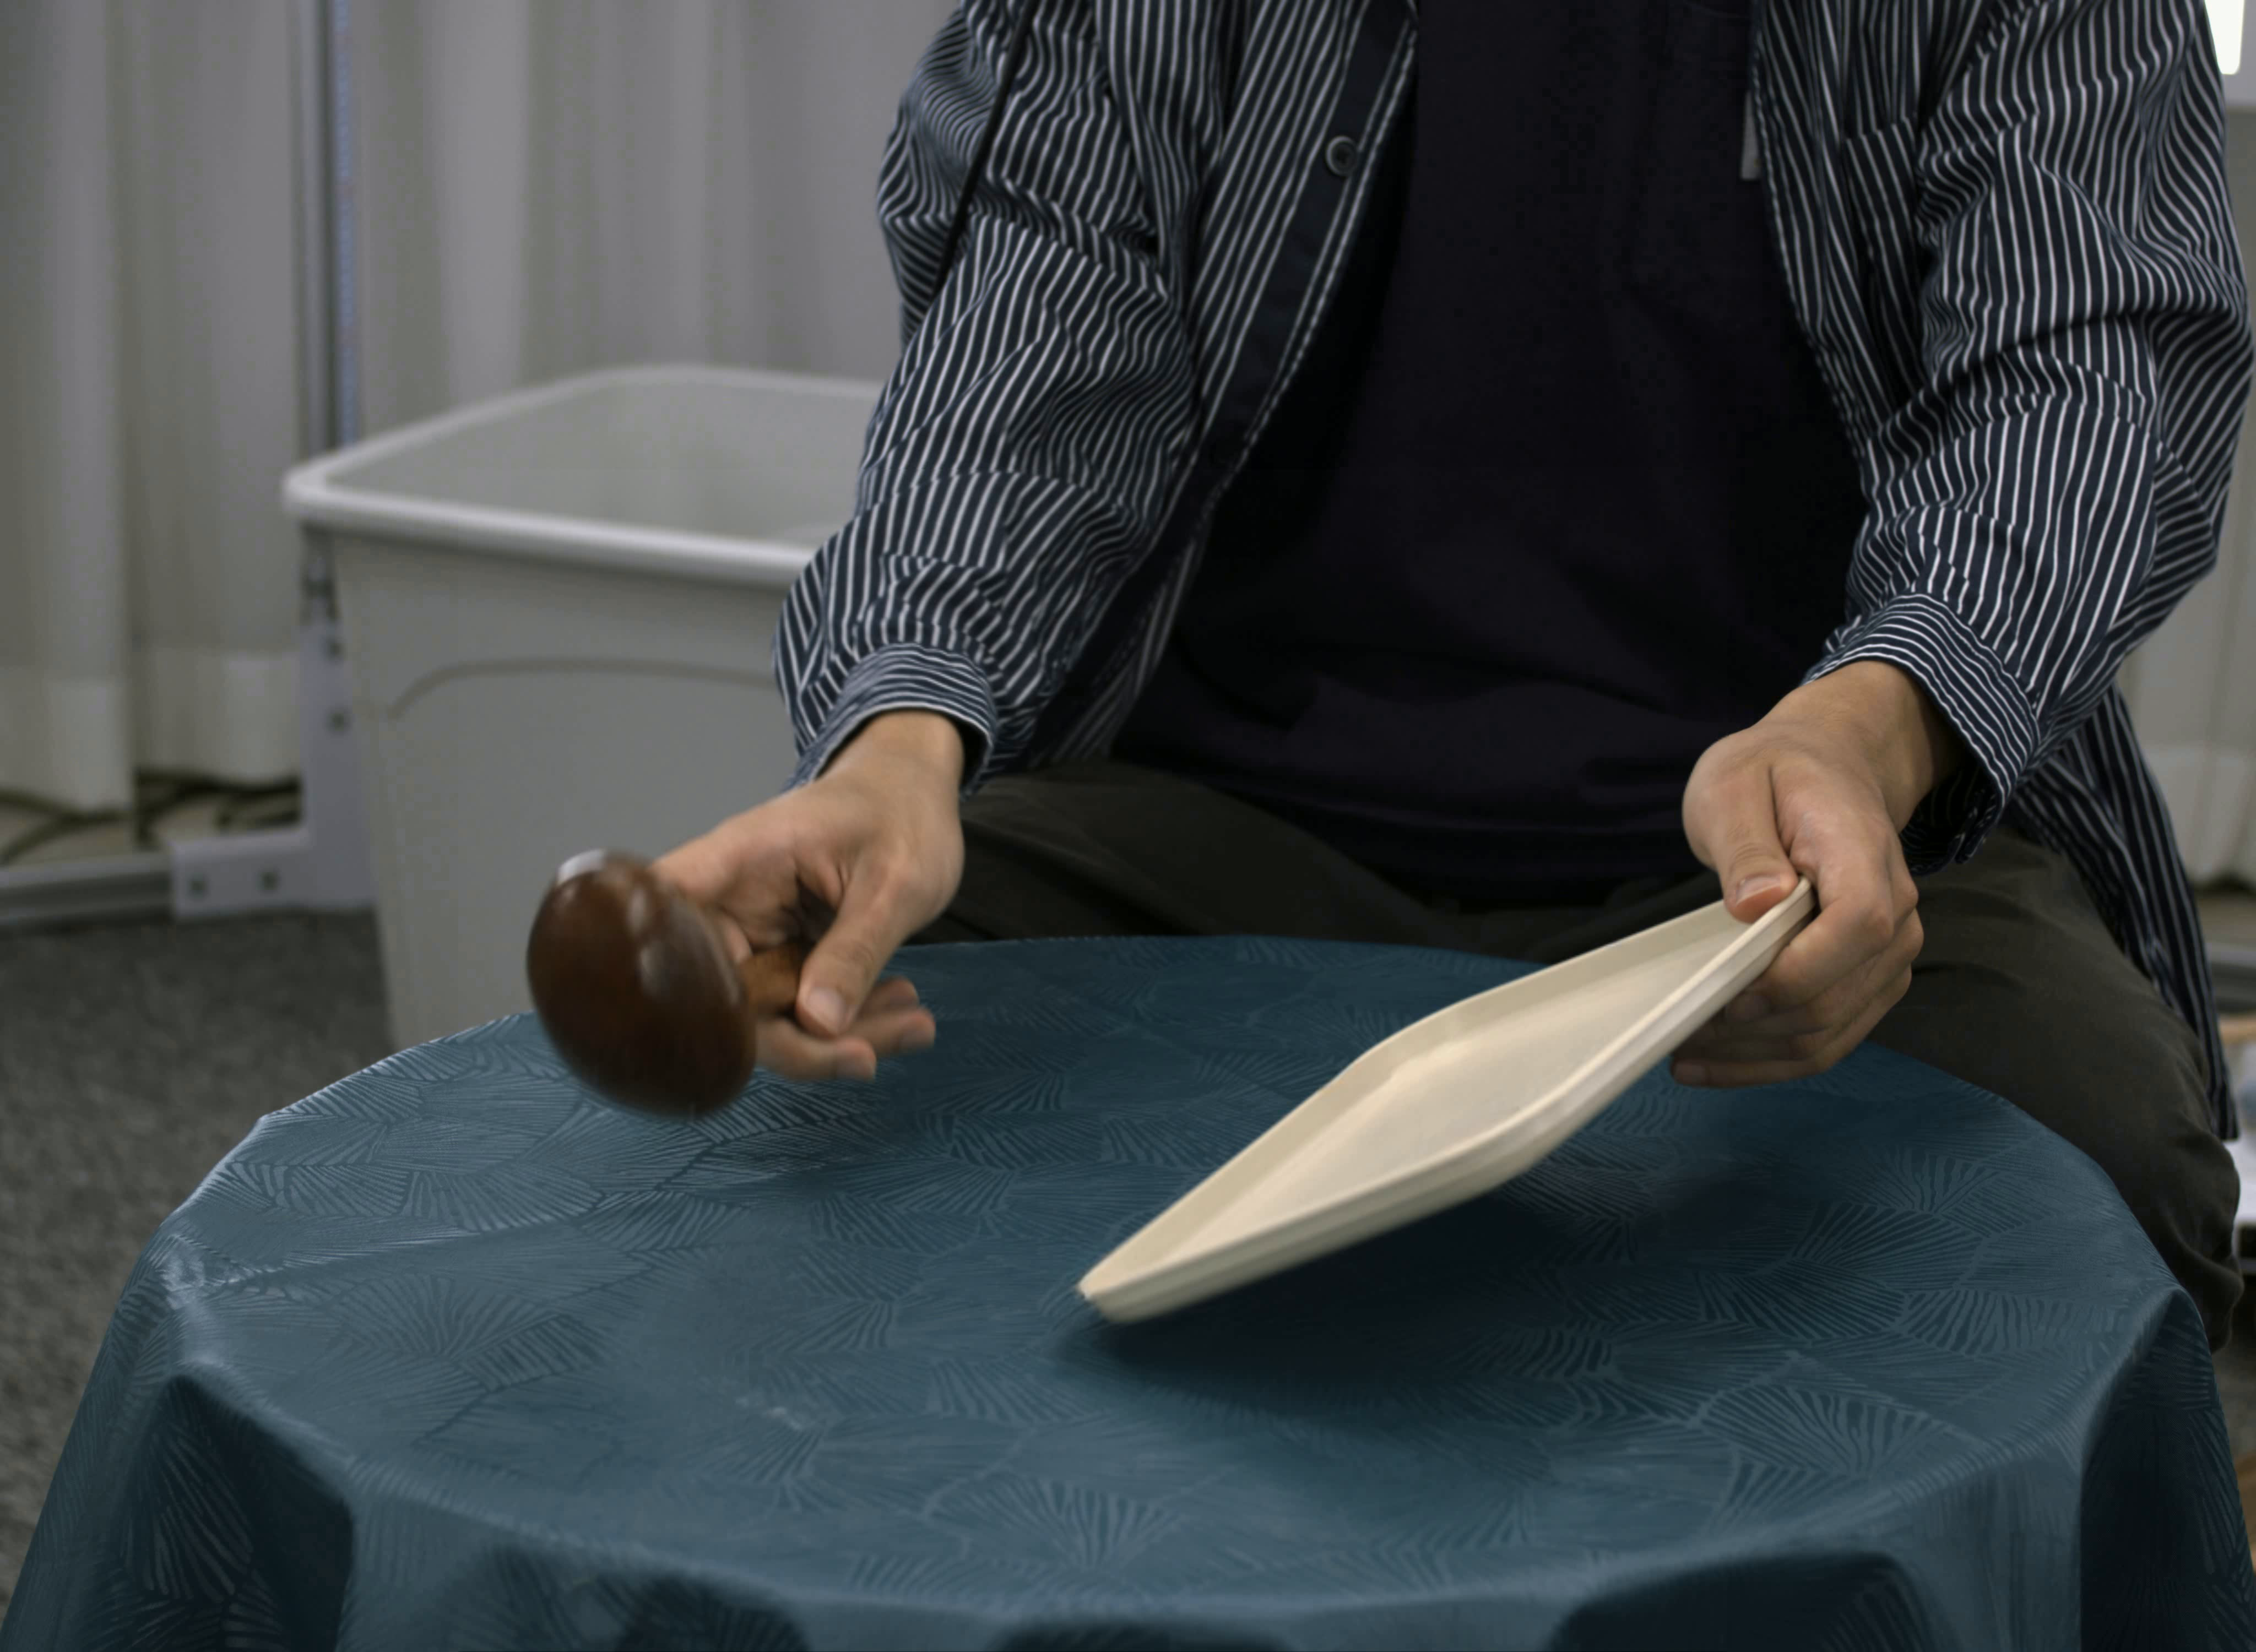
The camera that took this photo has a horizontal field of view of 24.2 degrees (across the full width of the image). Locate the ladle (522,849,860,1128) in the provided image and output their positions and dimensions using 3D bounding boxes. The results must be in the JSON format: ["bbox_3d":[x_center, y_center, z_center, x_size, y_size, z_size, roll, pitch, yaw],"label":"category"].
[{"bbox_3d":[-0.109,0.042,1.561,0.076,0.082,0.275,-32,-6,15],"label":"ladle"}]

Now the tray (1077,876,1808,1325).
[{"bbox_3d":[0.097,0.081,1.542,0.170,0.017,0.240,-24,5,33],"label":"tray"}]
